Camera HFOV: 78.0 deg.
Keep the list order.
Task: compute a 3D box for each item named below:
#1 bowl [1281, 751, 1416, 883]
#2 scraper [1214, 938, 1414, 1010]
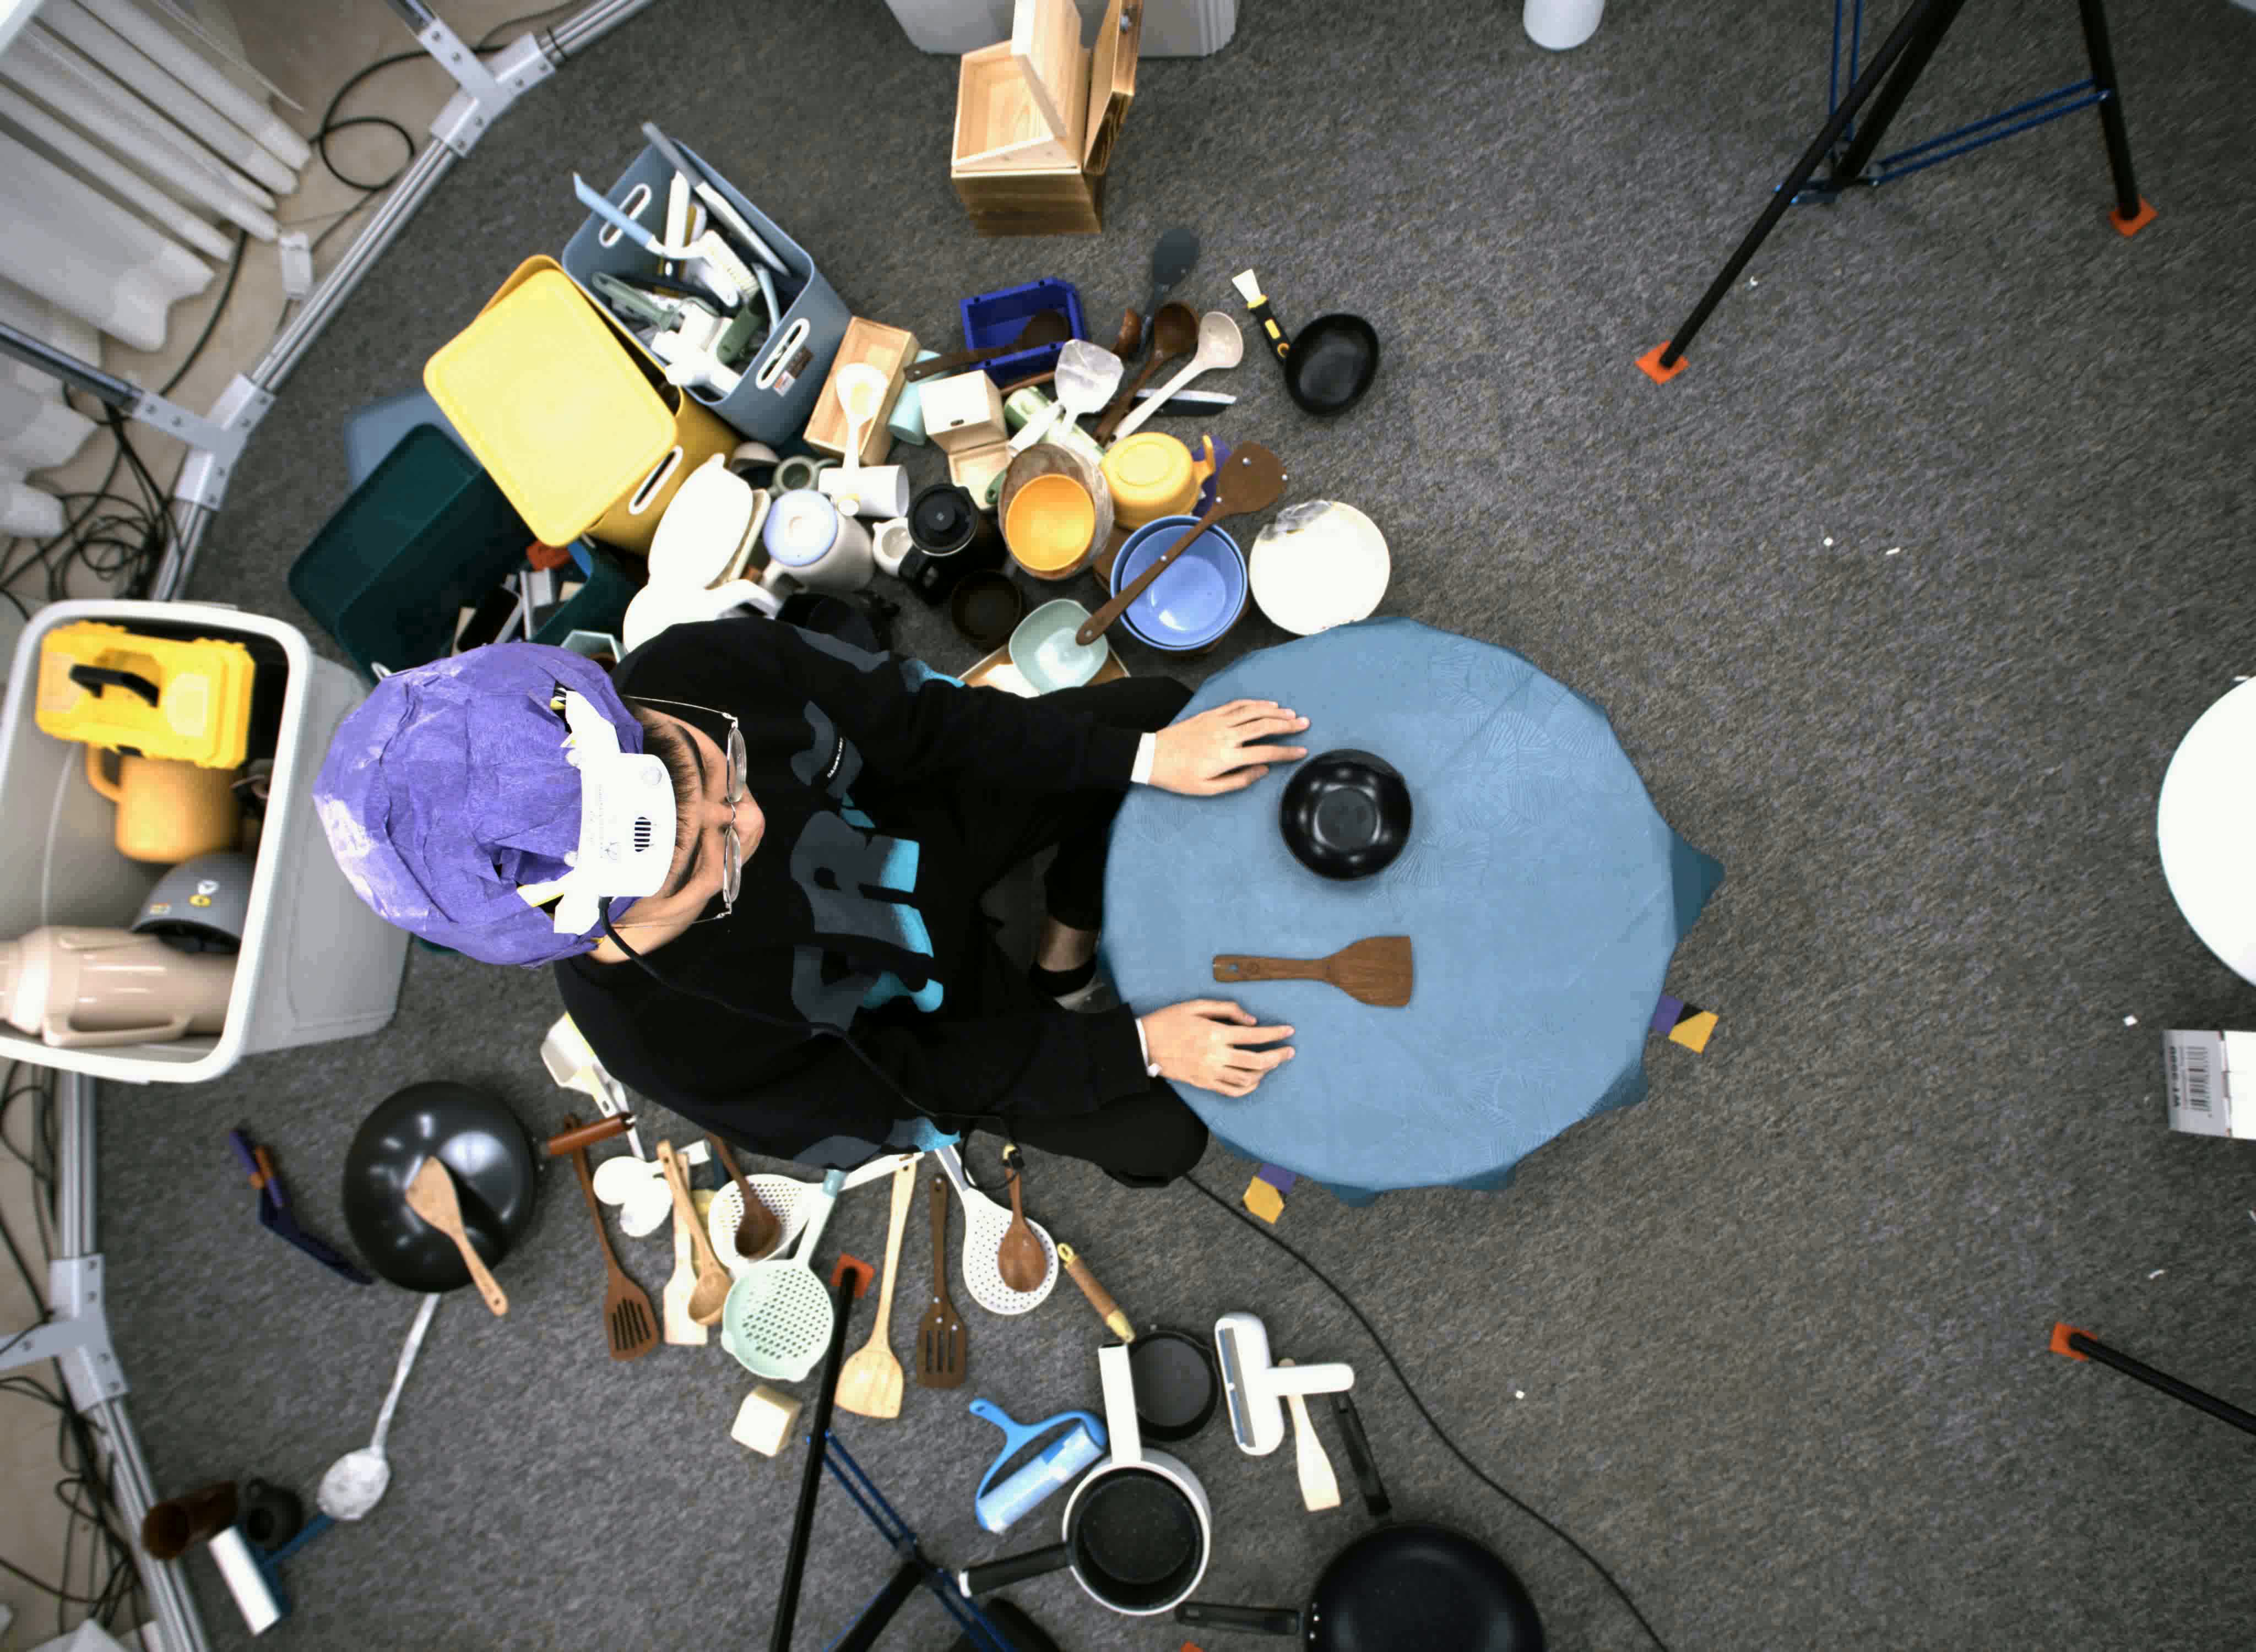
[{"bbox_3d":[0.232,-0.009,1.453,0.140,0.049,0.139,0,89,10],"label":"bowl"},{"bbox_3d":[0.196,0.154,1.469,0.212,0.011,0.075,0,85,11],"label":"scraper"}]
